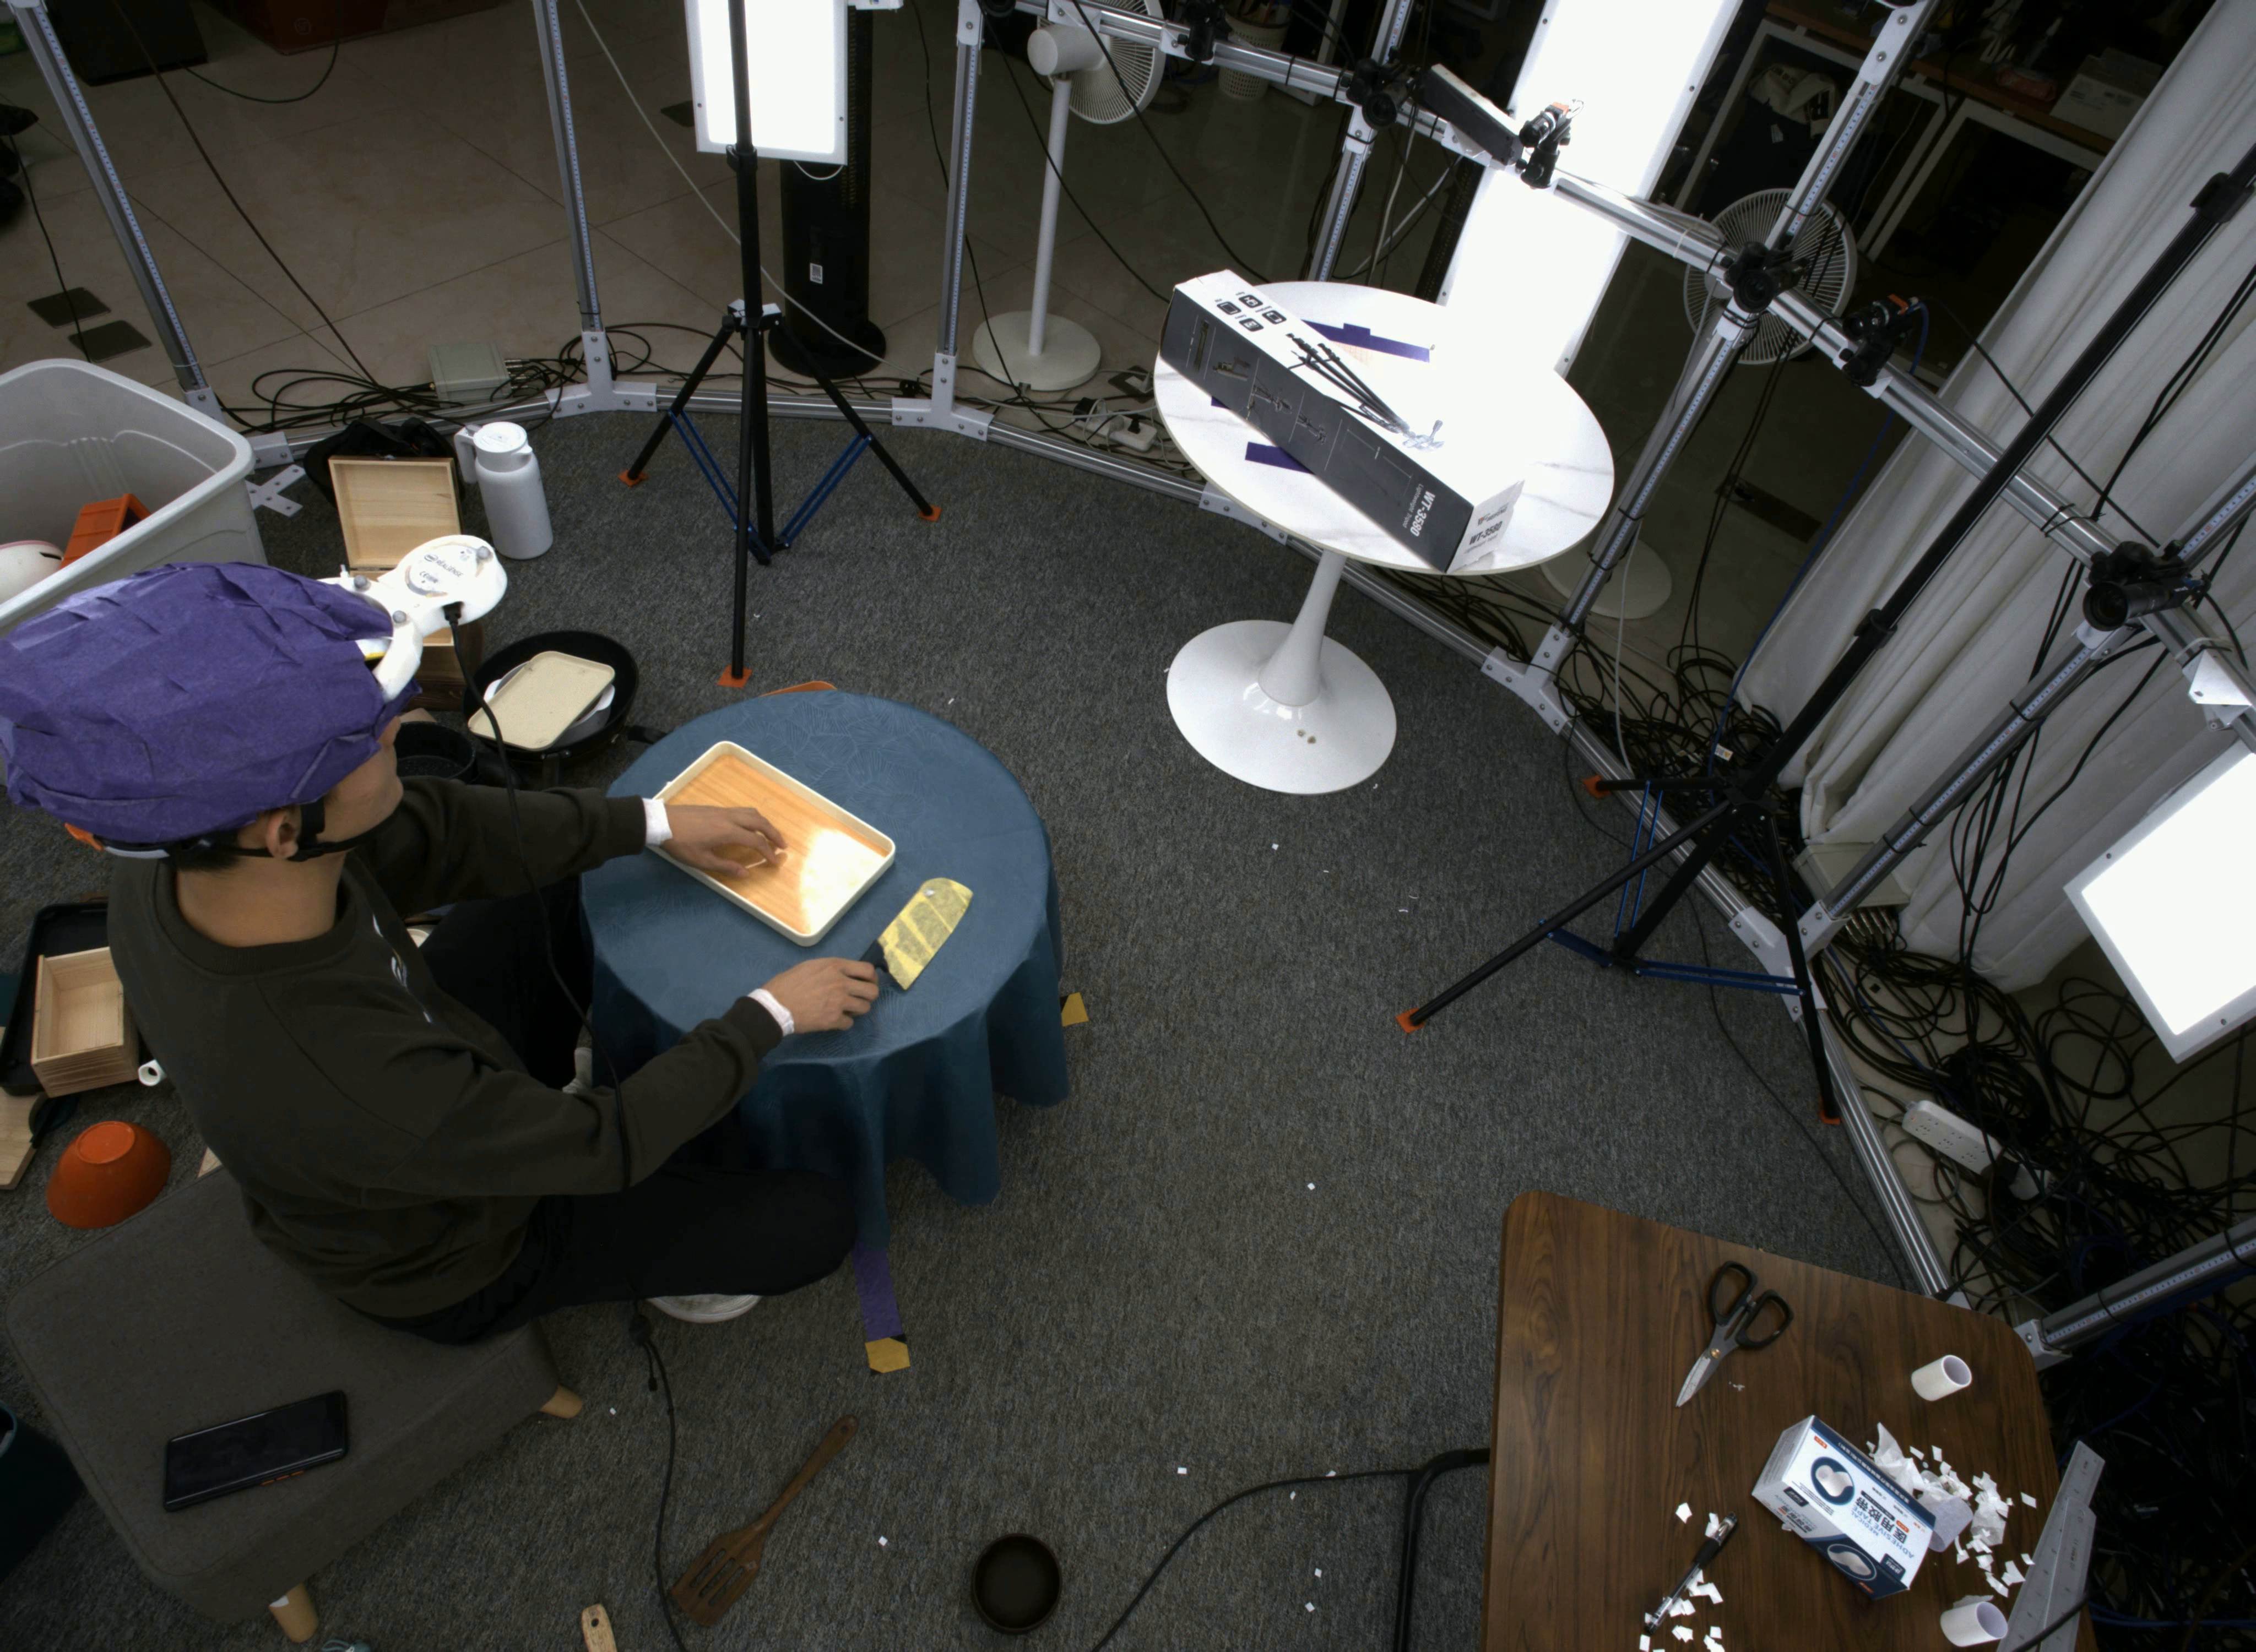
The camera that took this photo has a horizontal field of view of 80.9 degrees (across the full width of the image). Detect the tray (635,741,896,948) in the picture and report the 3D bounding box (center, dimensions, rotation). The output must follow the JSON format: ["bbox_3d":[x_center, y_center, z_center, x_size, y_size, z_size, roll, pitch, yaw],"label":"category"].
[{"bbox_3d":[-0.474,0.018,1.692,0.295,0.028,0.191,31,54,9],"label":"tray"}]

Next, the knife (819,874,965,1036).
[{"bbox_3d":[-0.287,0.159,1.620,0.083,0.027,0.288,51,48,-16],"label":"knife"}]
